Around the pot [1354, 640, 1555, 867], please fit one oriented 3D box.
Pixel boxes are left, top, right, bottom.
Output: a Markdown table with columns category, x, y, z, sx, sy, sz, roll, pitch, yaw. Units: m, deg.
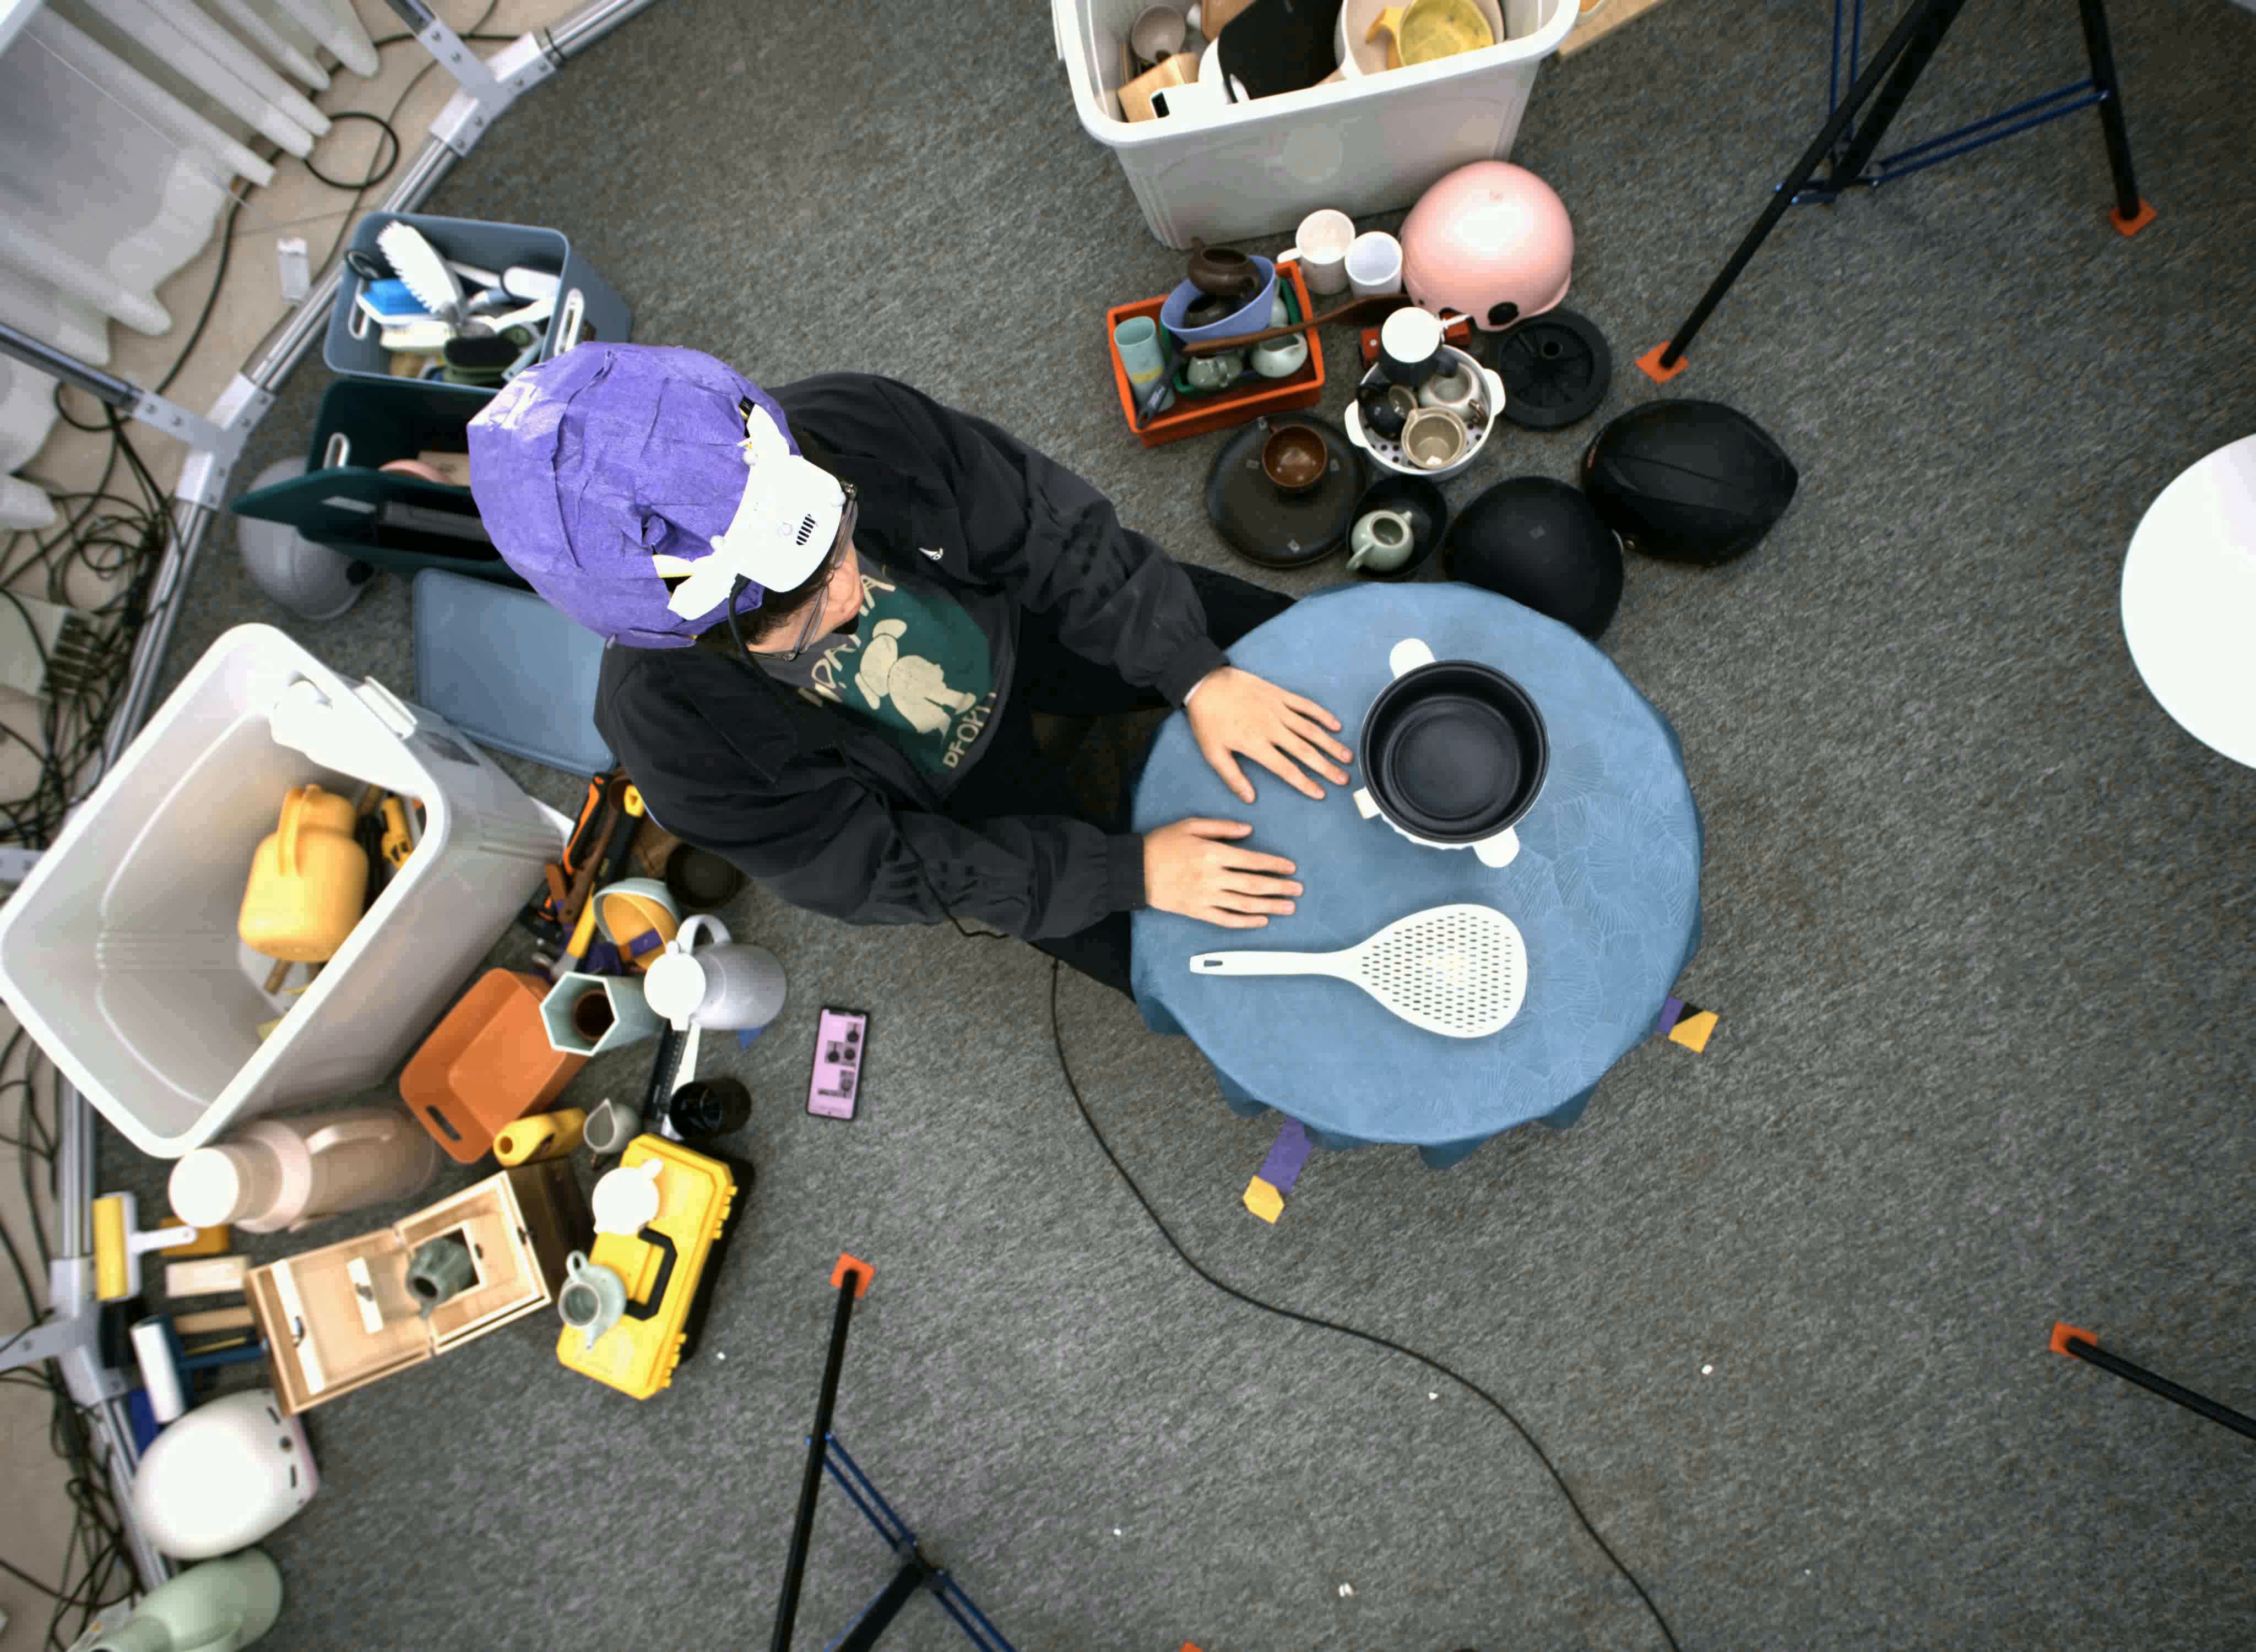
| category | x | y | z | sx | sy | sz | roll | pitch | yaw |
| --- | --- | --- | --- | --- | --- | --- | --- | --- | --- |
| pot | 0.321 | -0.063 | 1.386 | 0.191 | 0.143 | 0.238 | -24 | 81 | 5 |

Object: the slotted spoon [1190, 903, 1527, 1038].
| category | x | y | z | sx | sy | sz | roll | pitch | yaw |
| --- | --- | --- | --- | --- | --- | --- | --- | --- | --- |
| slotted spoon | 0.234 | 0.145 | 1.440 | 0.349 | 0.050 | 0.136 | 0 | 88 | 10 |
